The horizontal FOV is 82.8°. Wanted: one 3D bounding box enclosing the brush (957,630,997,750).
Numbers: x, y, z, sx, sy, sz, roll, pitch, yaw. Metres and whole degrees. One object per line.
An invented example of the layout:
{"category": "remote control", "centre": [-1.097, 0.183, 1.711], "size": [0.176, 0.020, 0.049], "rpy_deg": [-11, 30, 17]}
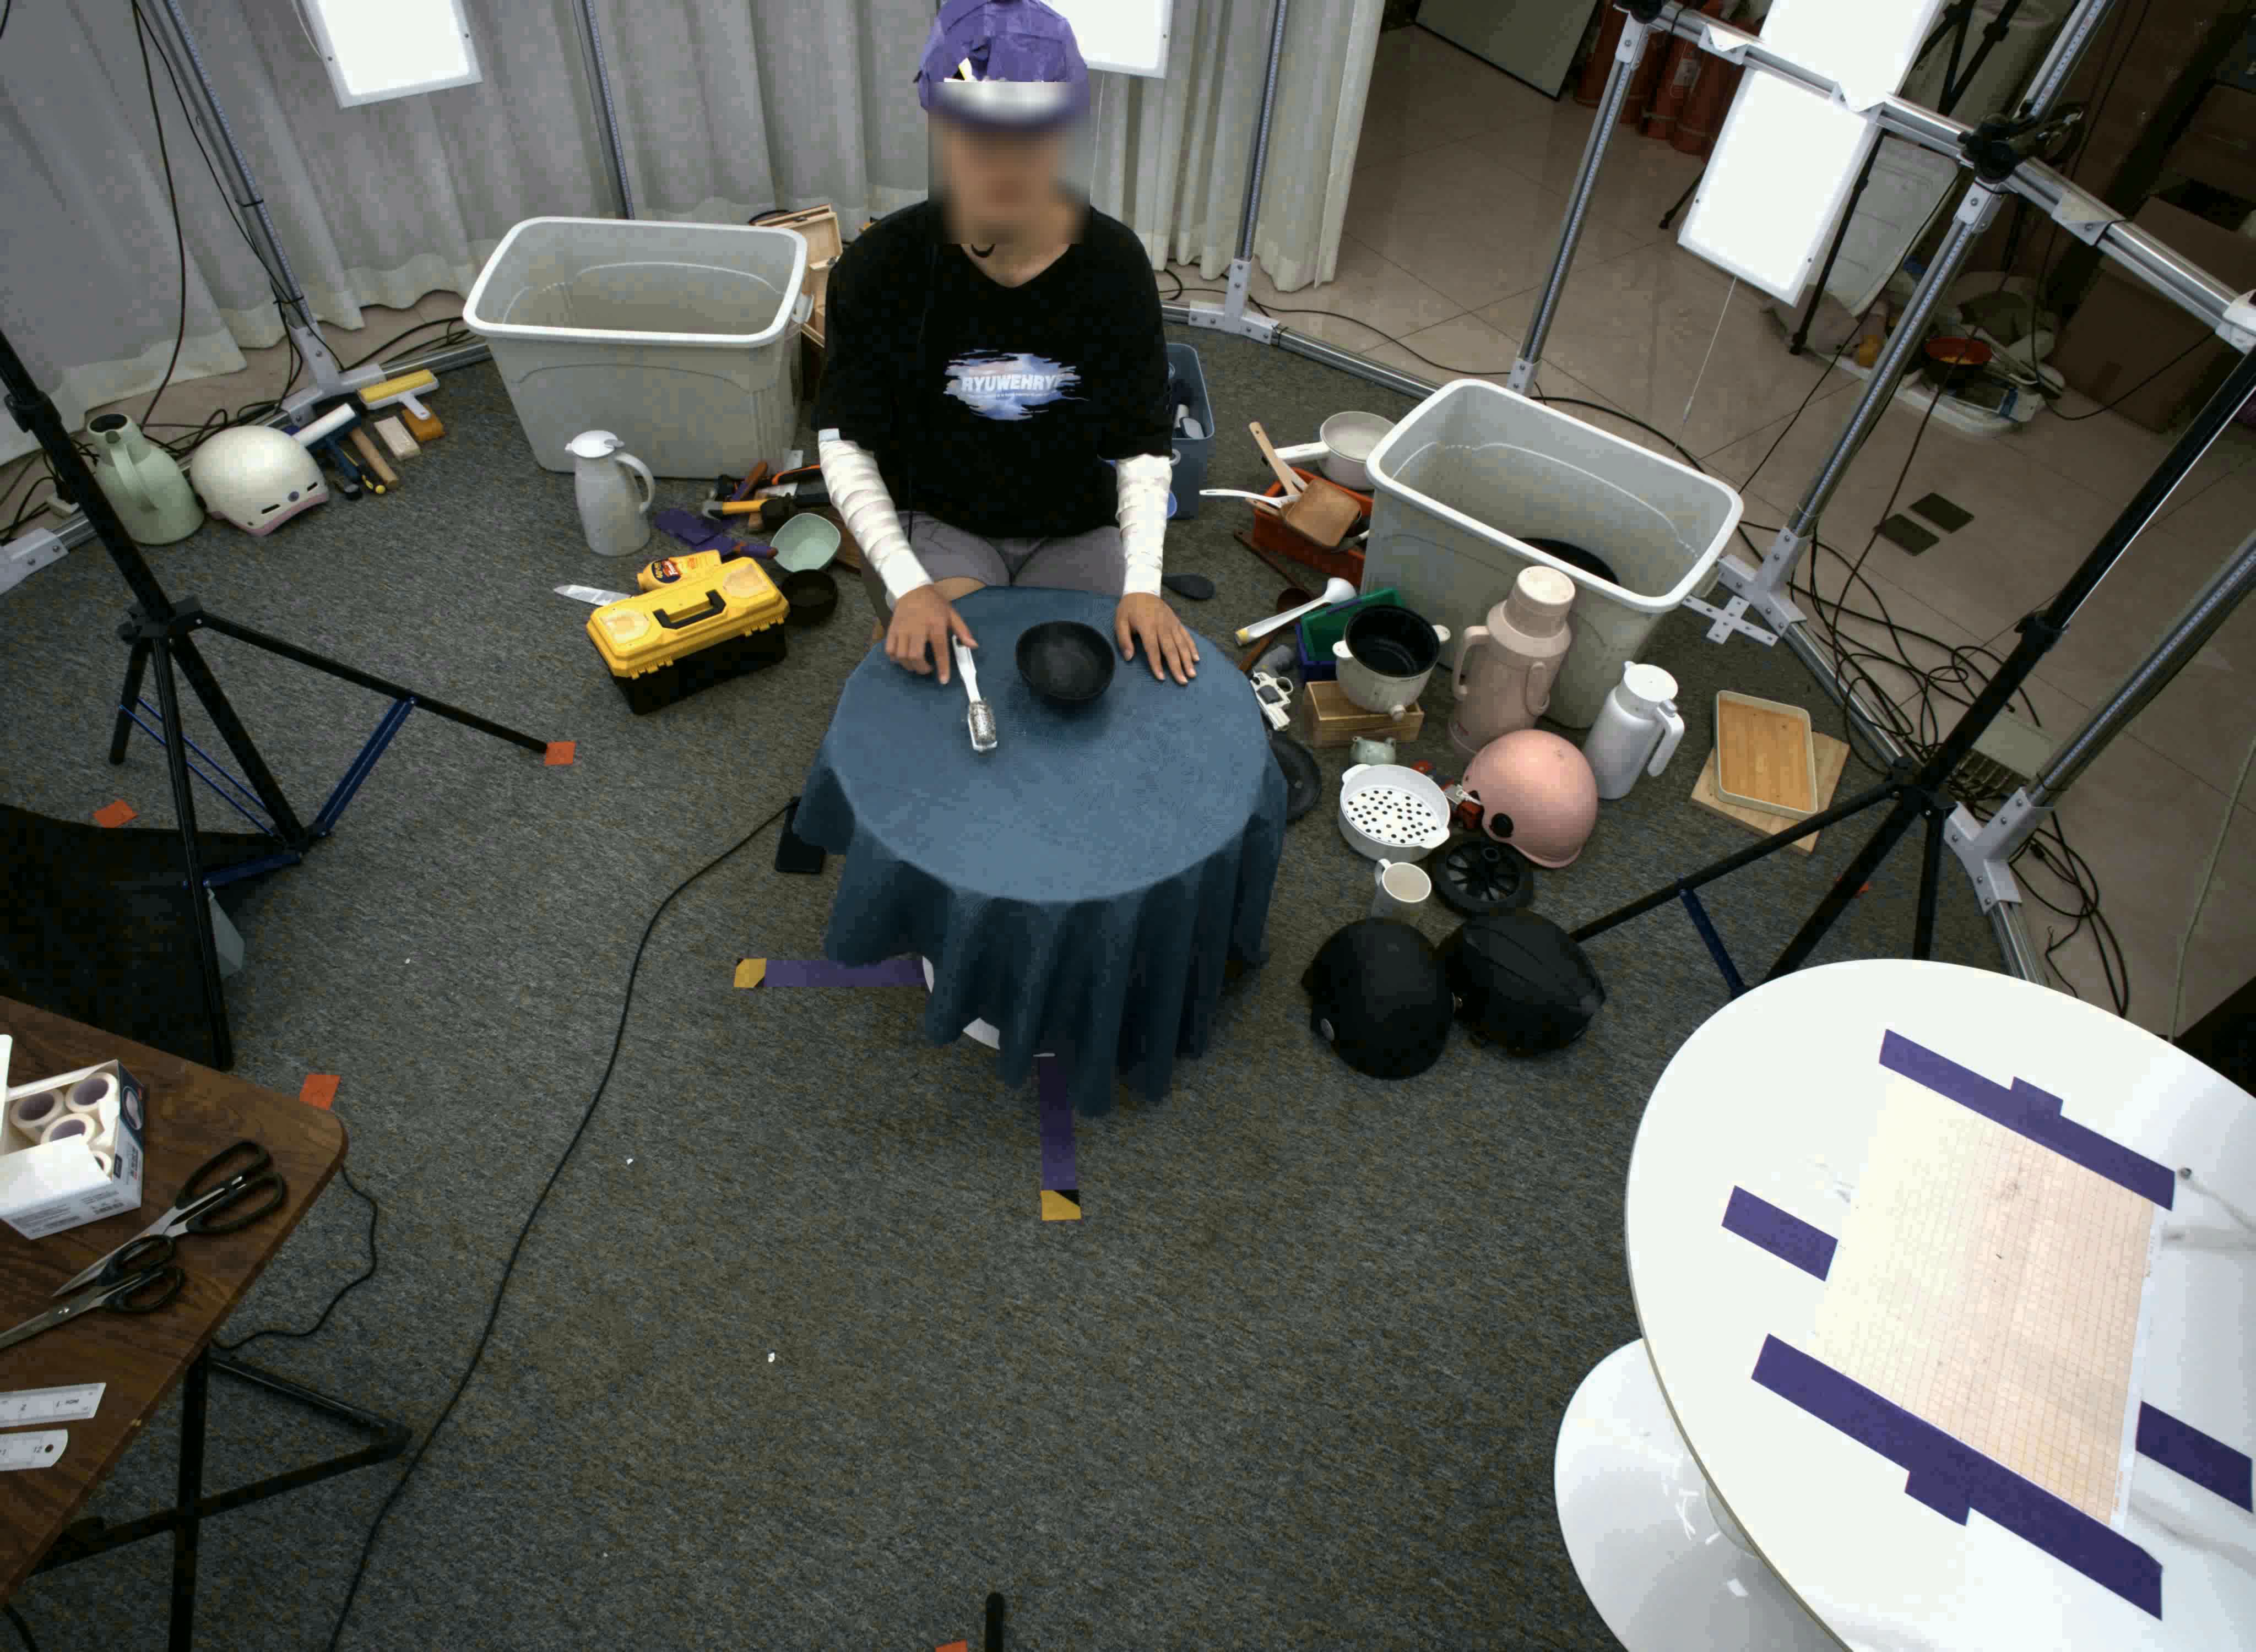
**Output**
{"category": "brush", "centre": [-0.215, -0.204, 1.803], "size": [0.034, 0.049, 0.250], "rpy_deg": [-6, 51, -10]}

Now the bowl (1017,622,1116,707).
{"category": "bowl", "centre": [-0.088, -0.221, 1.817], "size": [0.137, 0.065, 0.174], "rpy_deg": [-11, 49, -12]}
